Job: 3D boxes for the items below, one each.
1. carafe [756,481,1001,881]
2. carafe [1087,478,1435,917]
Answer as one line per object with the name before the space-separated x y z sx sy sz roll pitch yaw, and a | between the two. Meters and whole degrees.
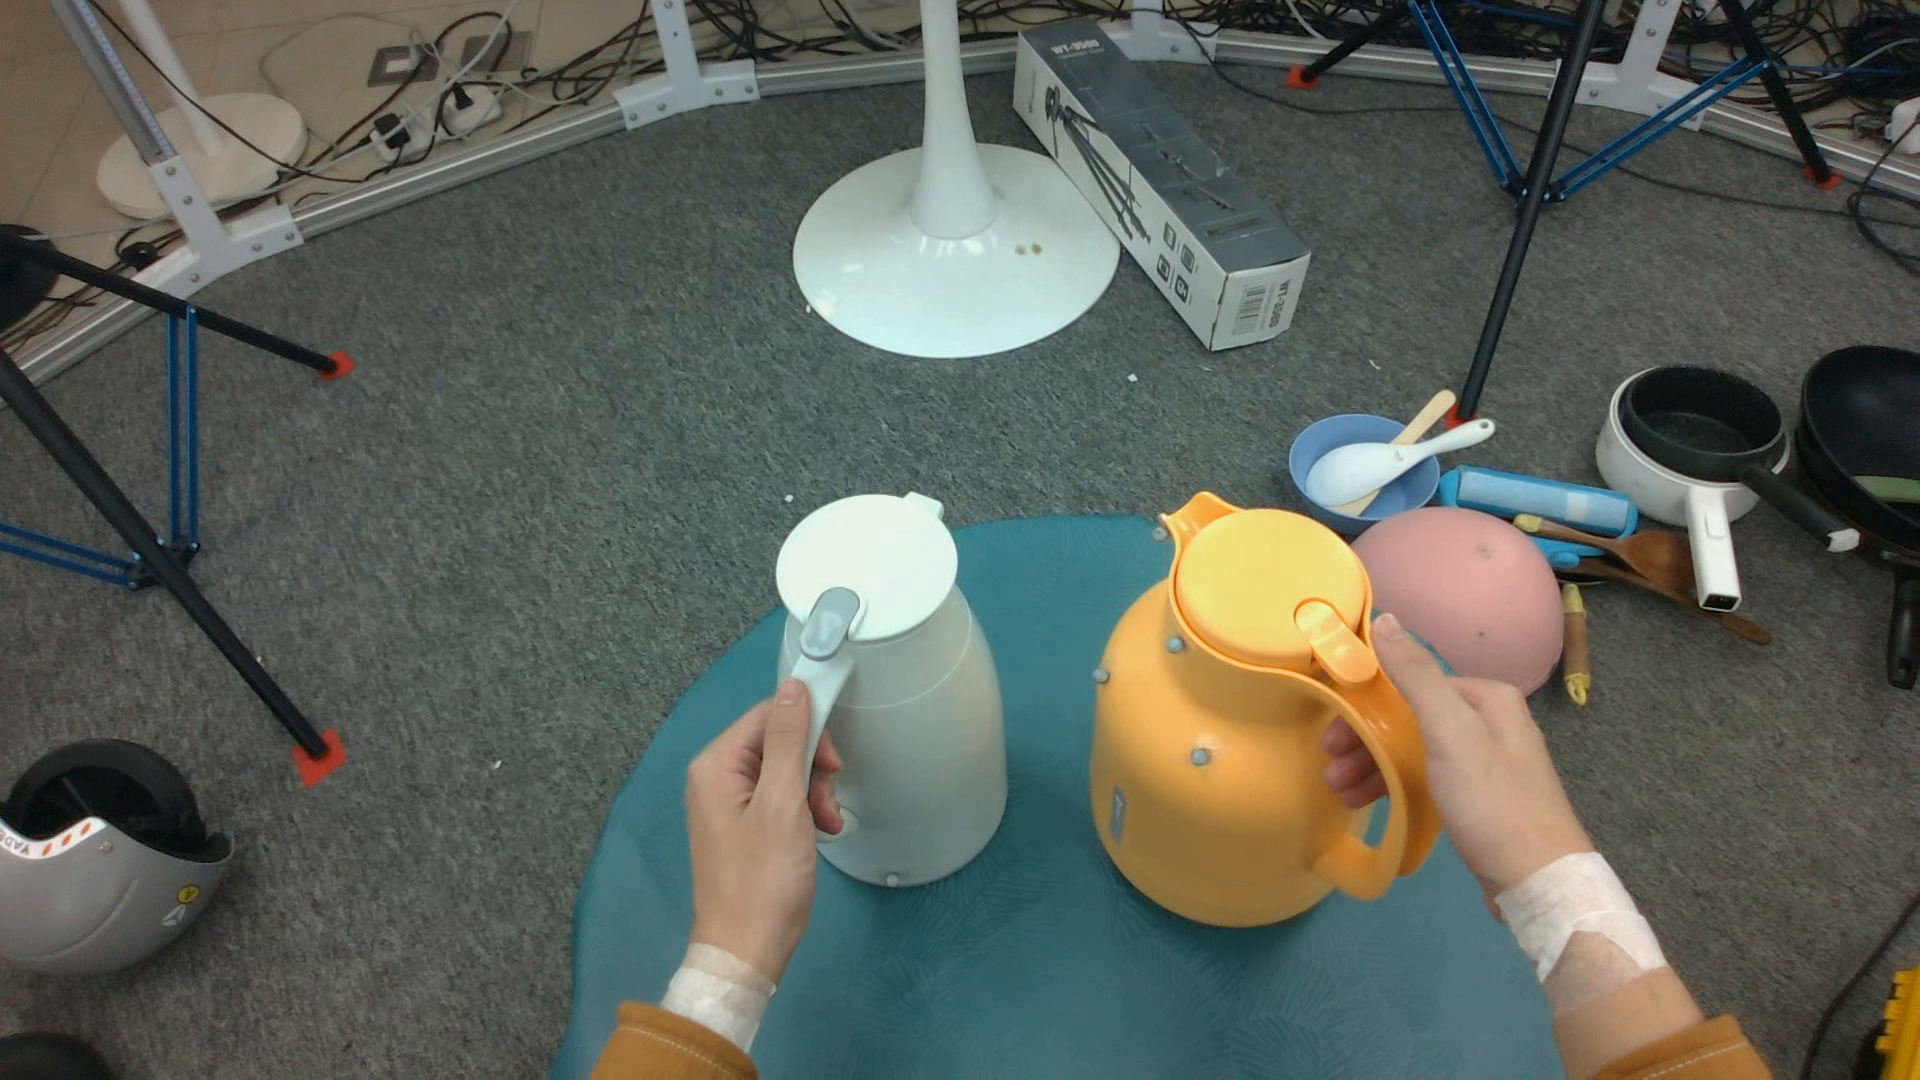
carafe | -0.053 0.092 0.764 0.132 0.247 0.168 19 56 17
carafe | 0.160 0.100 0.741 0.164 0.259 0.203 -28 54 -15
